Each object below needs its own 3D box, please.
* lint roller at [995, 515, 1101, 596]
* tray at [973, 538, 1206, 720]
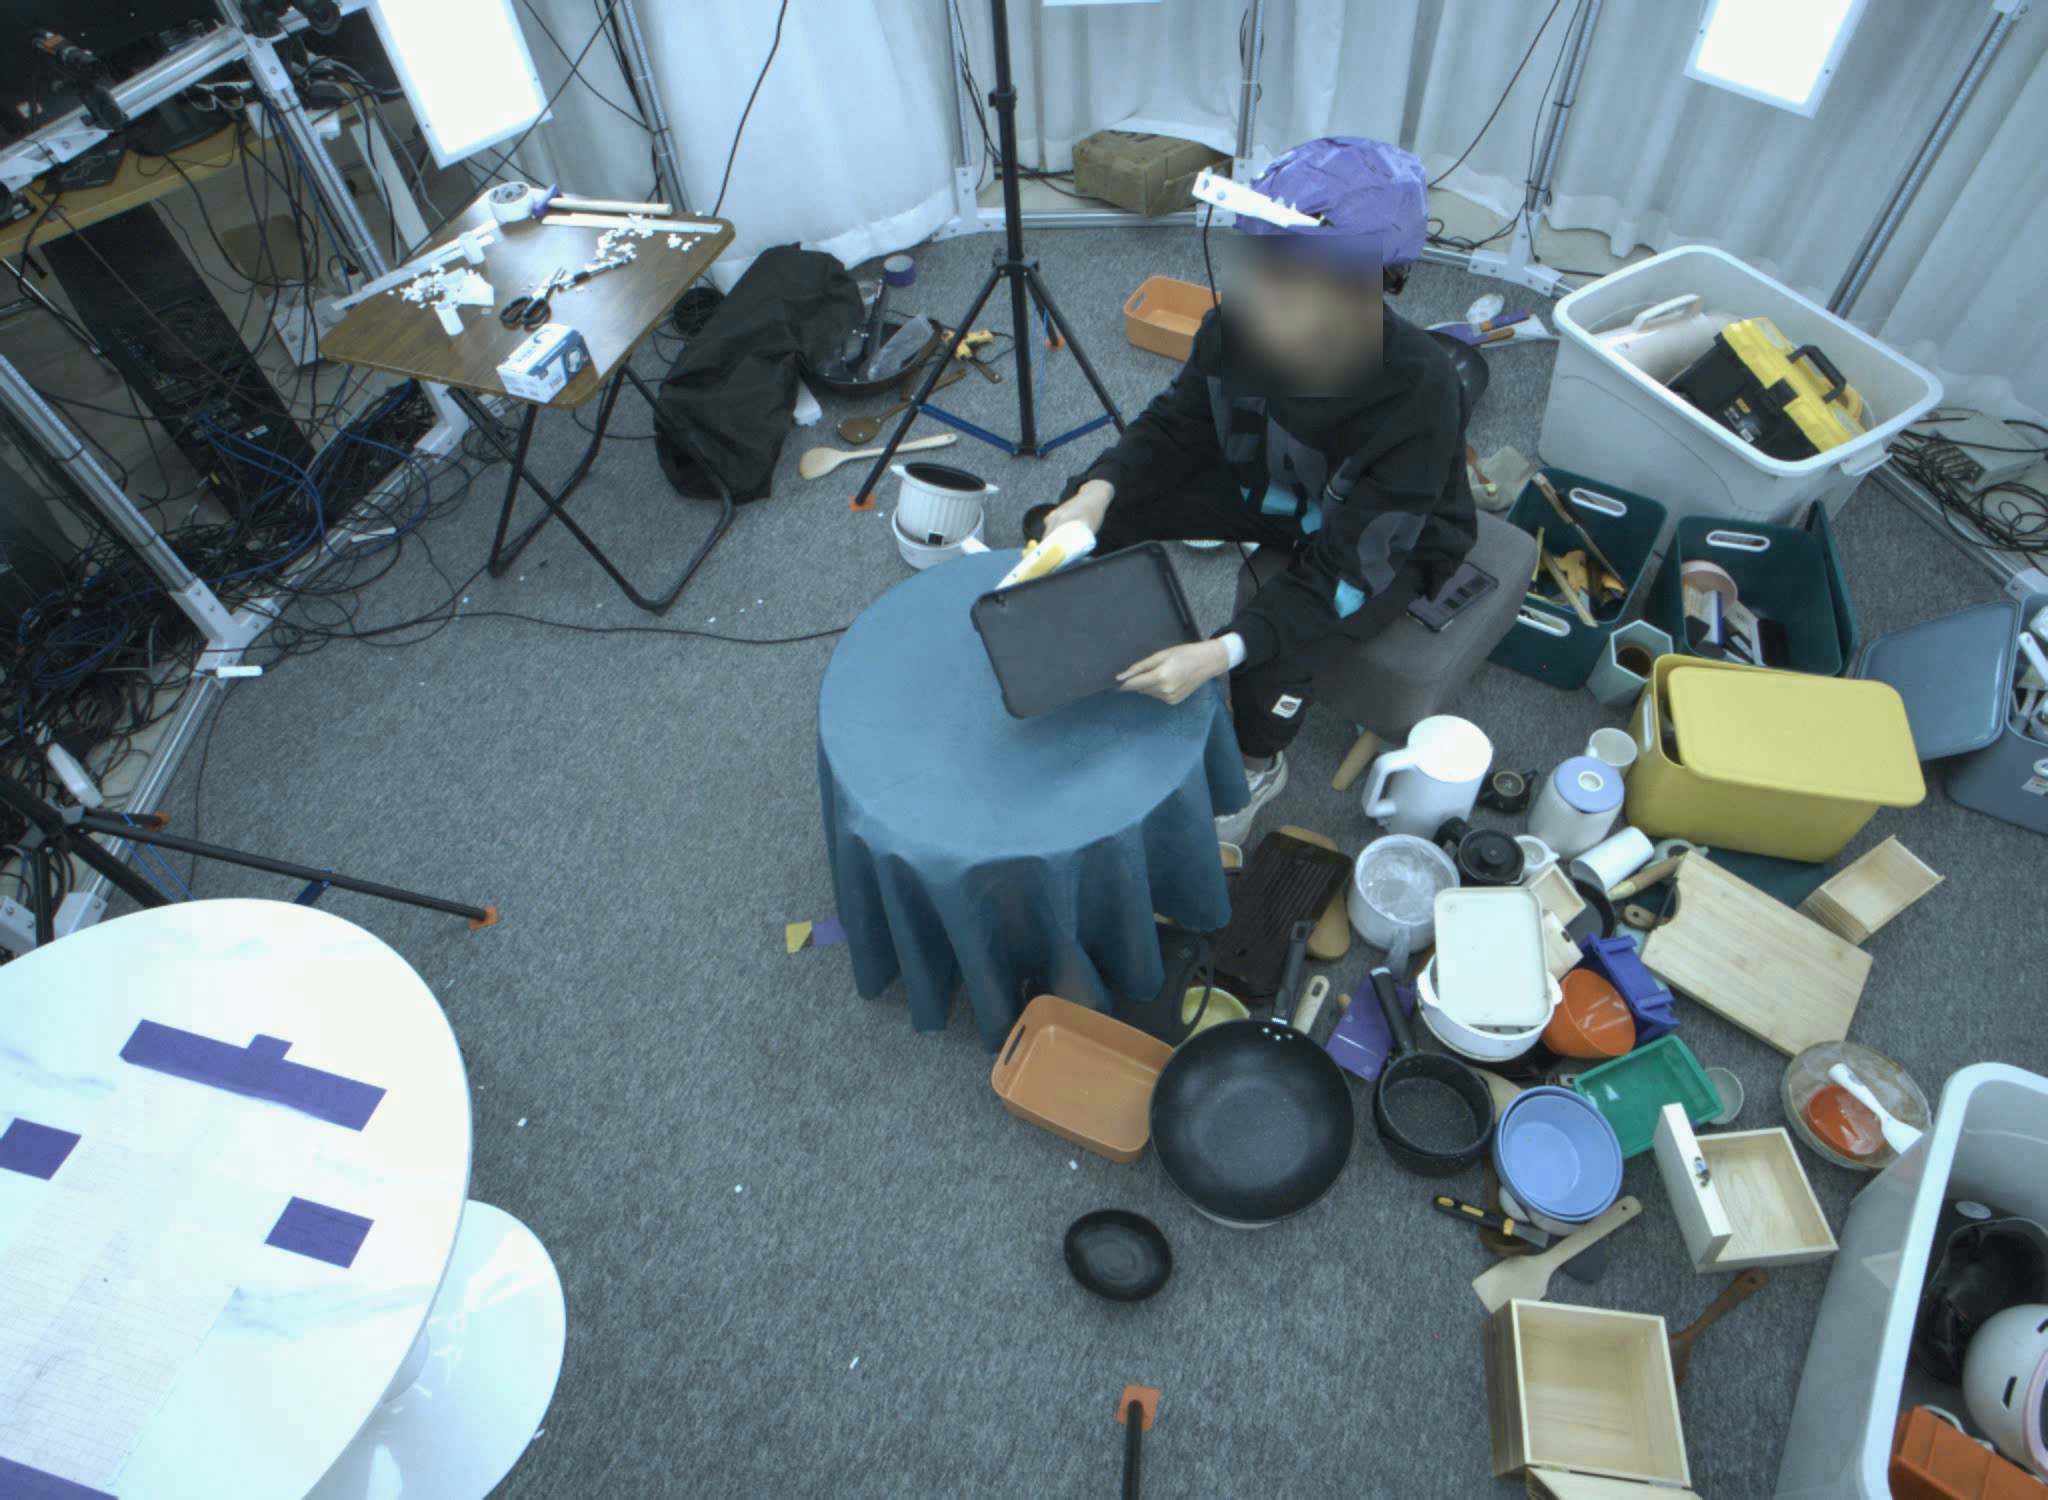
[{"bbox_3d":[0.051,-0.296,1.835,0.074,0.191,0.194,47,35,1],"label":"lint roller"},{"bbox_3d":[0.096,-0.175,1.754,0.321,0.036,0.184,-22,91,-22],"label":"tray"}]
